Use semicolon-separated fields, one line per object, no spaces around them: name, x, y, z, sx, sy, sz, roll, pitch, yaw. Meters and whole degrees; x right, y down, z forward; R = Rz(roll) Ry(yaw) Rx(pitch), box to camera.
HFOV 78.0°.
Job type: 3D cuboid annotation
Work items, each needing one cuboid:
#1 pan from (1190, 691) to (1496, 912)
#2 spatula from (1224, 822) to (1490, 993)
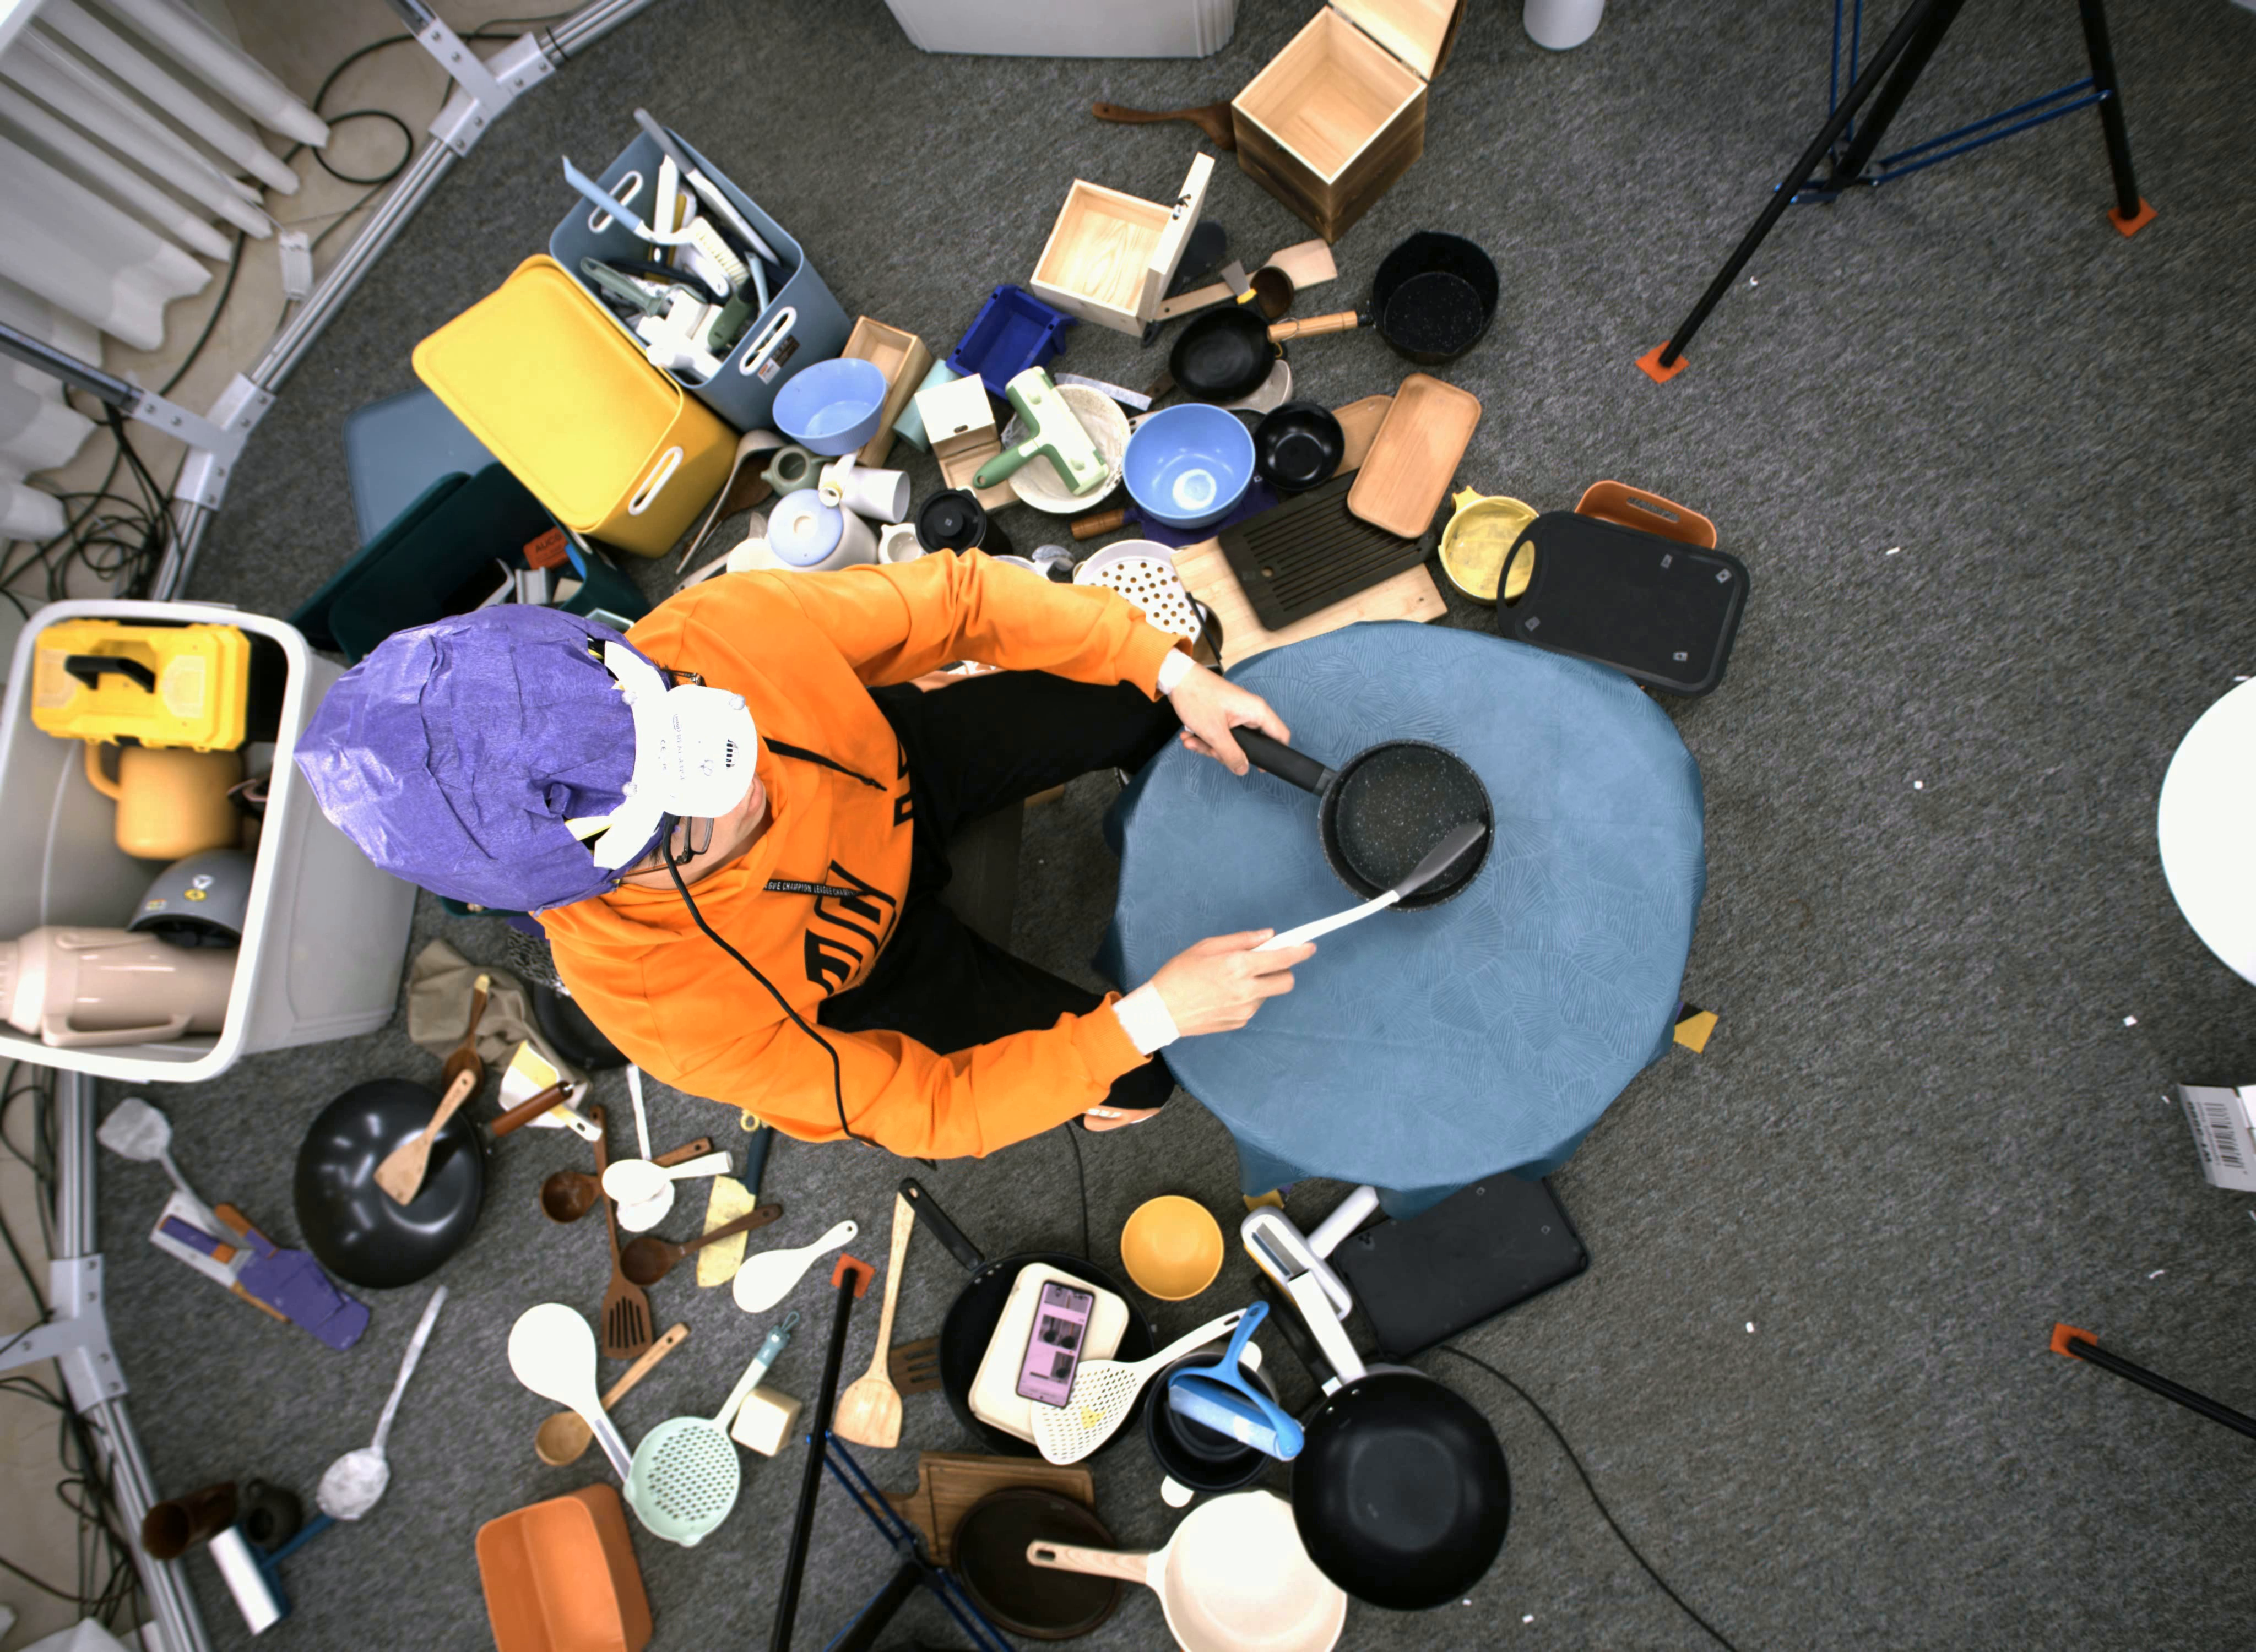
pan;0.214;-0.043;1.397;0.328;0.085;0.174;30;103;9
spatula;0.223;0.076;1.334;0.287;0.058;0.032;-30;101;-3
